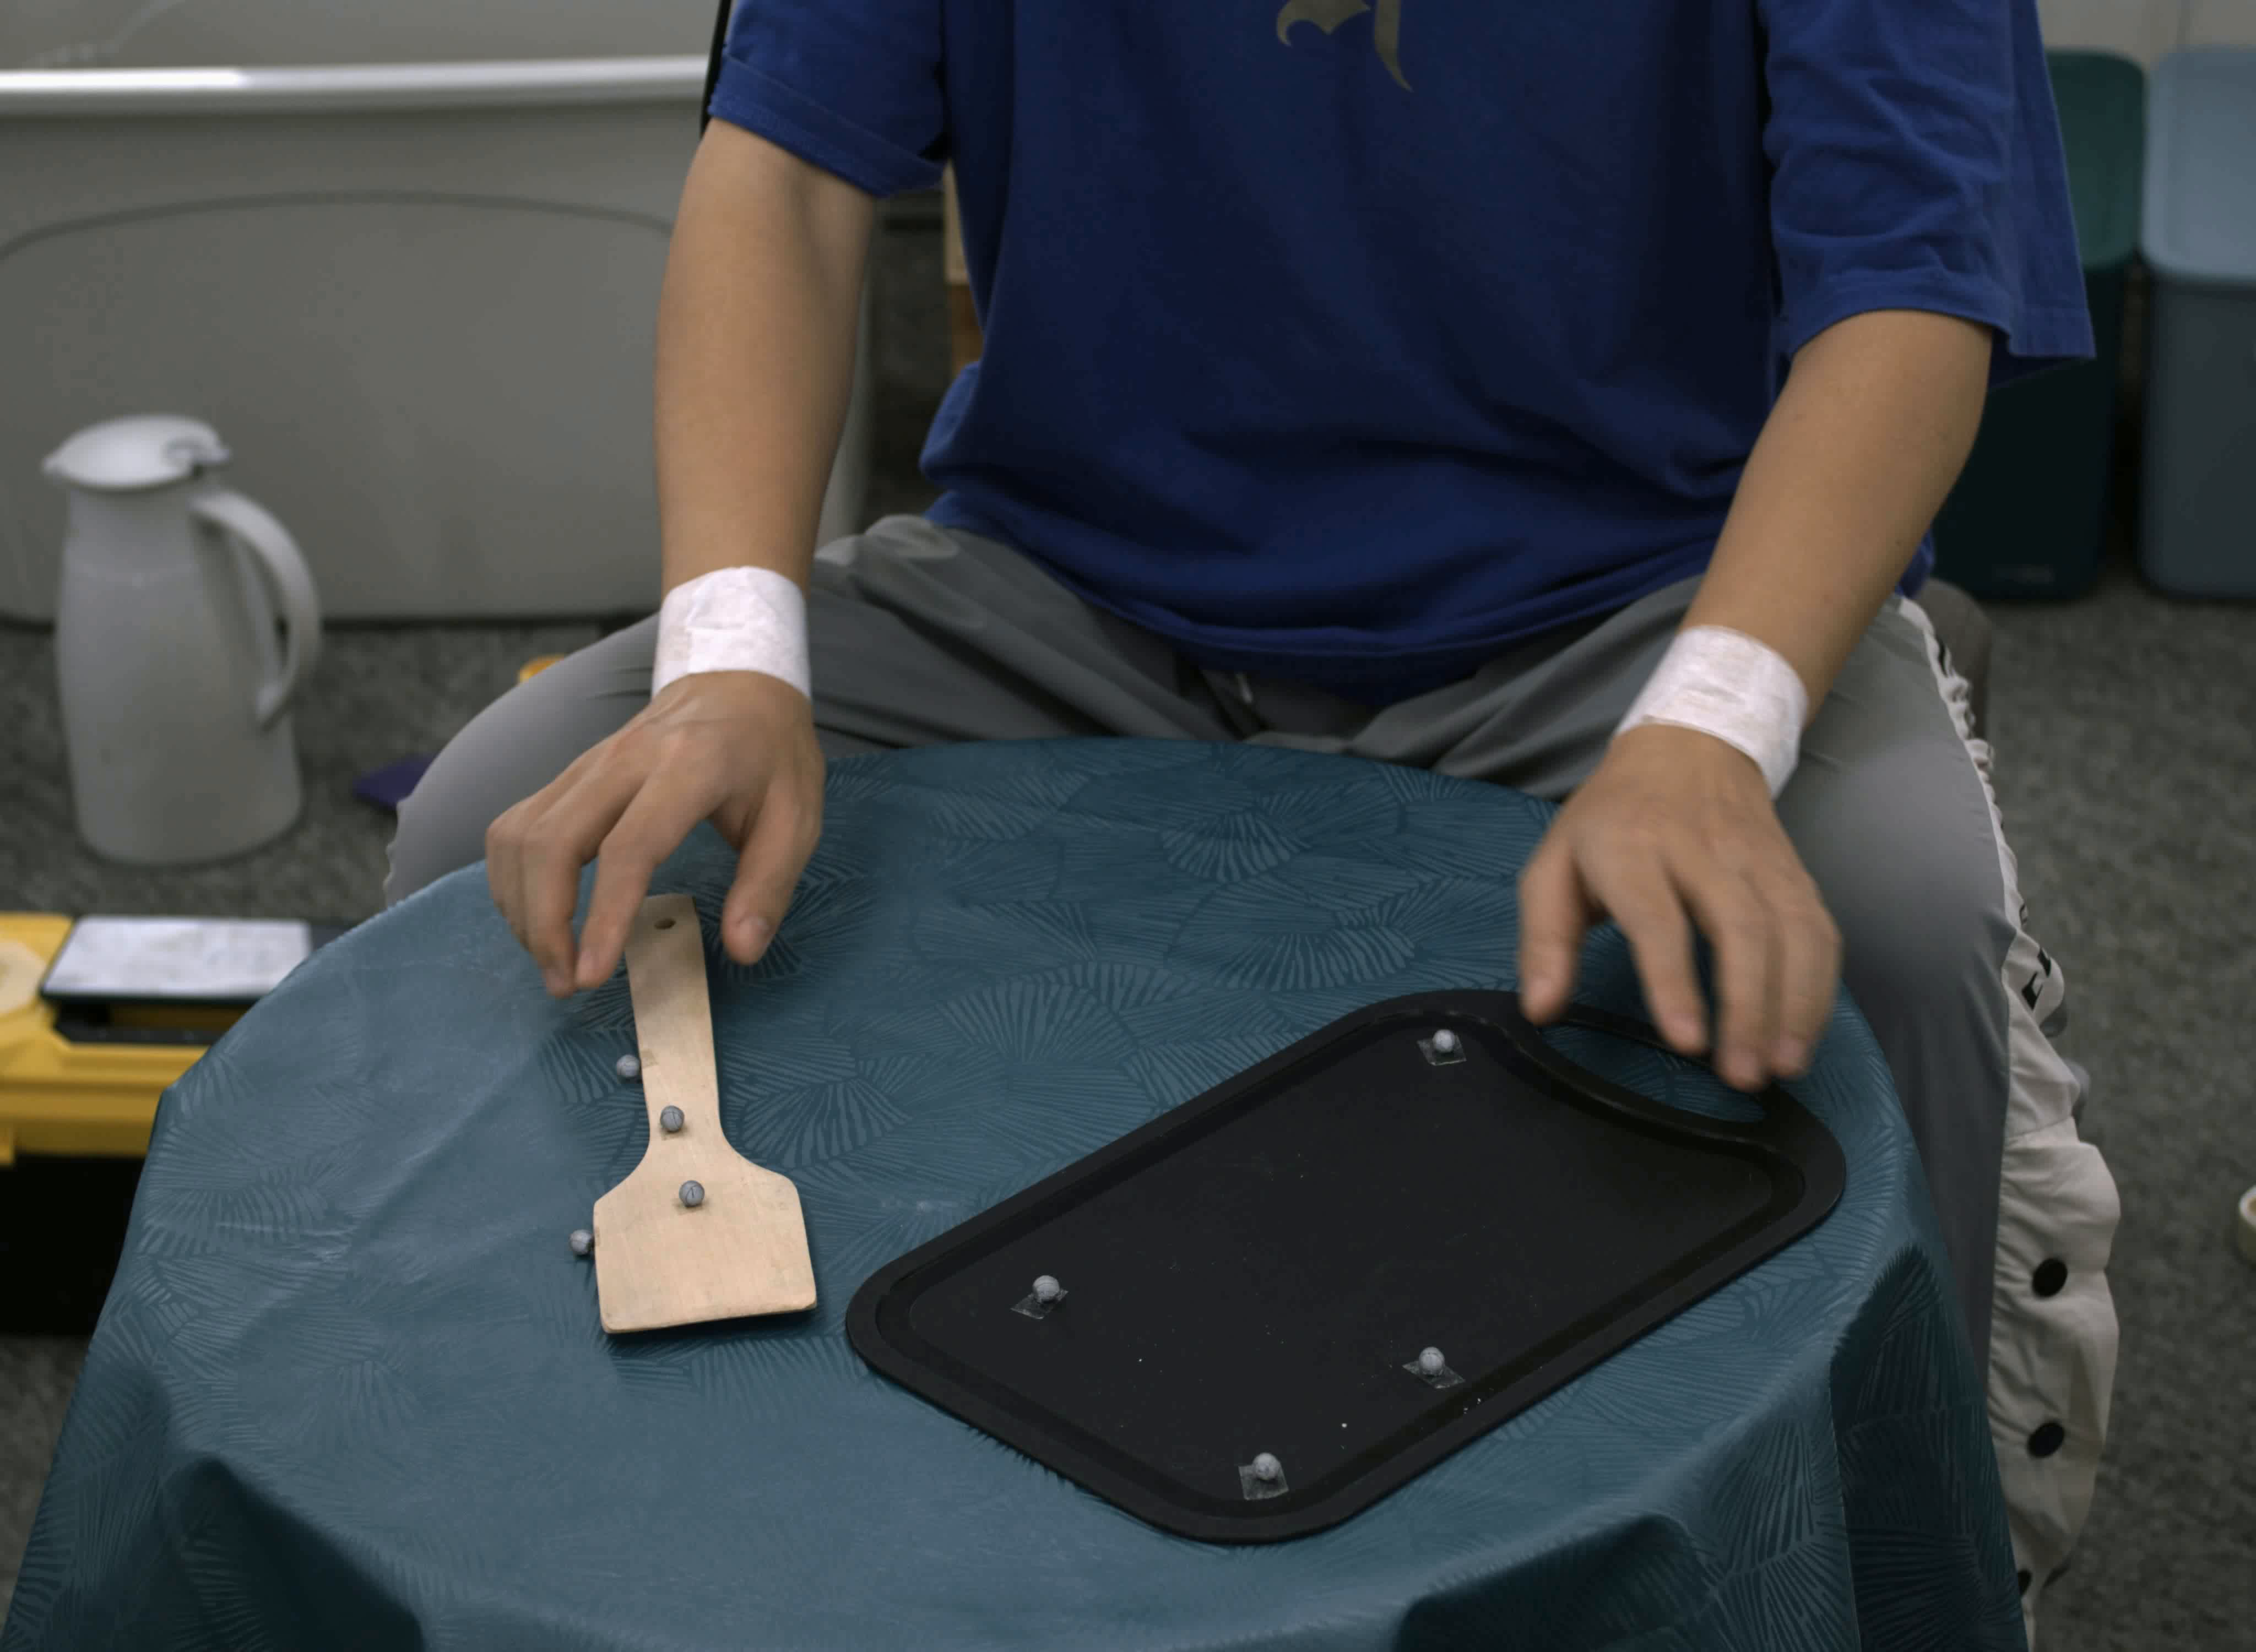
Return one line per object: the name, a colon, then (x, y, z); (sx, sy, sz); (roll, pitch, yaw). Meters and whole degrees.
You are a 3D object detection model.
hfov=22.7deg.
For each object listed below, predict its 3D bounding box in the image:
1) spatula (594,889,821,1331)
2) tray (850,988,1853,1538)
spatula: (-0.152, 0.093, 1.922); (0.072, 0.010, 0.297); (-7, 28, -5)
tray: (0.079, 0.131, 1.827); (0.329, 0.009, 0.211); (-25, 35, -37)
